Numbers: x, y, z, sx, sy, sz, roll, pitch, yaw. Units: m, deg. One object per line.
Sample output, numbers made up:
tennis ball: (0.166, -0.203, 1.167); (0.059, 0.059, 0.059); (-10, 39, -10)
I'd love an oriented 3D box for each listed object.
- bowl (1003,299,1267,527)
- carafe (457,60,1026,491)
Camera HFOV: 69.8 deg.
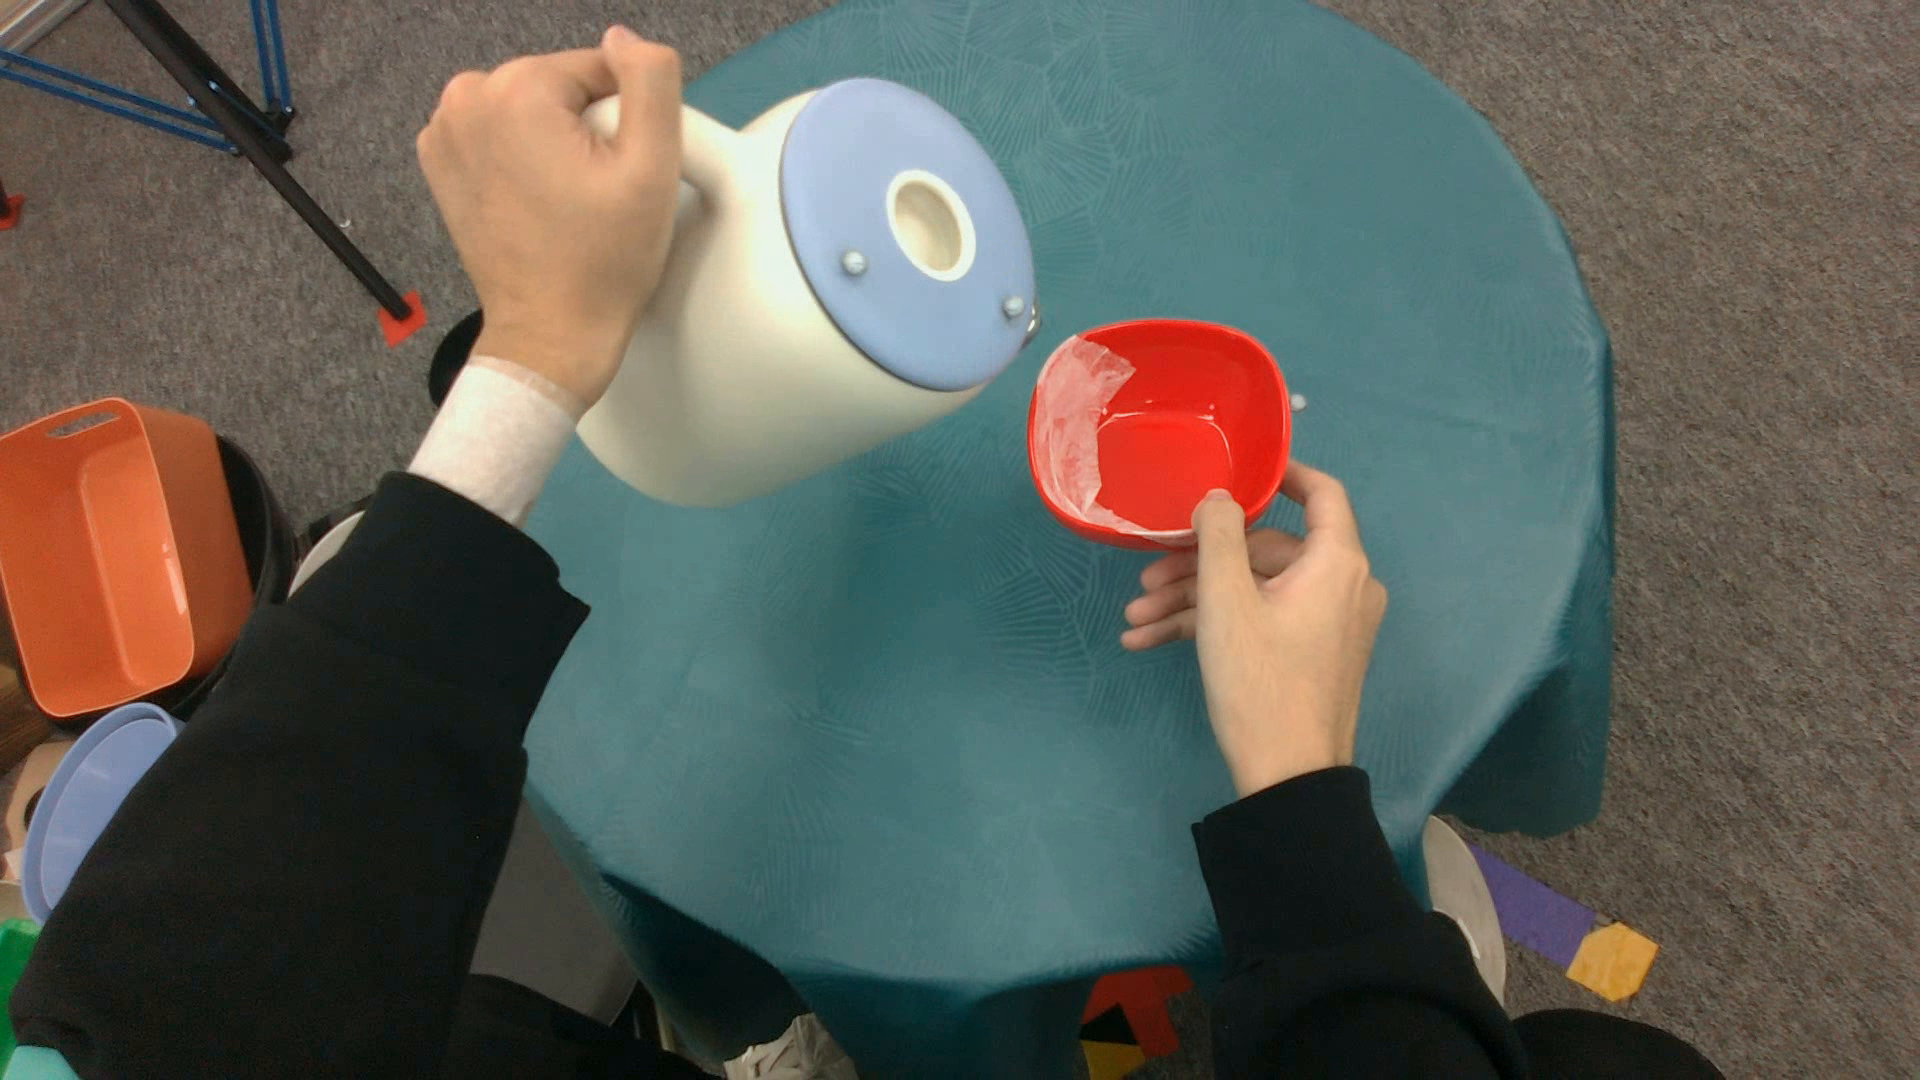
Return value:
bowl: (0.075, -0.047, 0.598); (0.119, 0.051, 0.119); (-2, 58, 4)
carafe: (-0.096, -0.109, 0.543); (0.182, 0.191, 0.132); (-20, 57, 44)
